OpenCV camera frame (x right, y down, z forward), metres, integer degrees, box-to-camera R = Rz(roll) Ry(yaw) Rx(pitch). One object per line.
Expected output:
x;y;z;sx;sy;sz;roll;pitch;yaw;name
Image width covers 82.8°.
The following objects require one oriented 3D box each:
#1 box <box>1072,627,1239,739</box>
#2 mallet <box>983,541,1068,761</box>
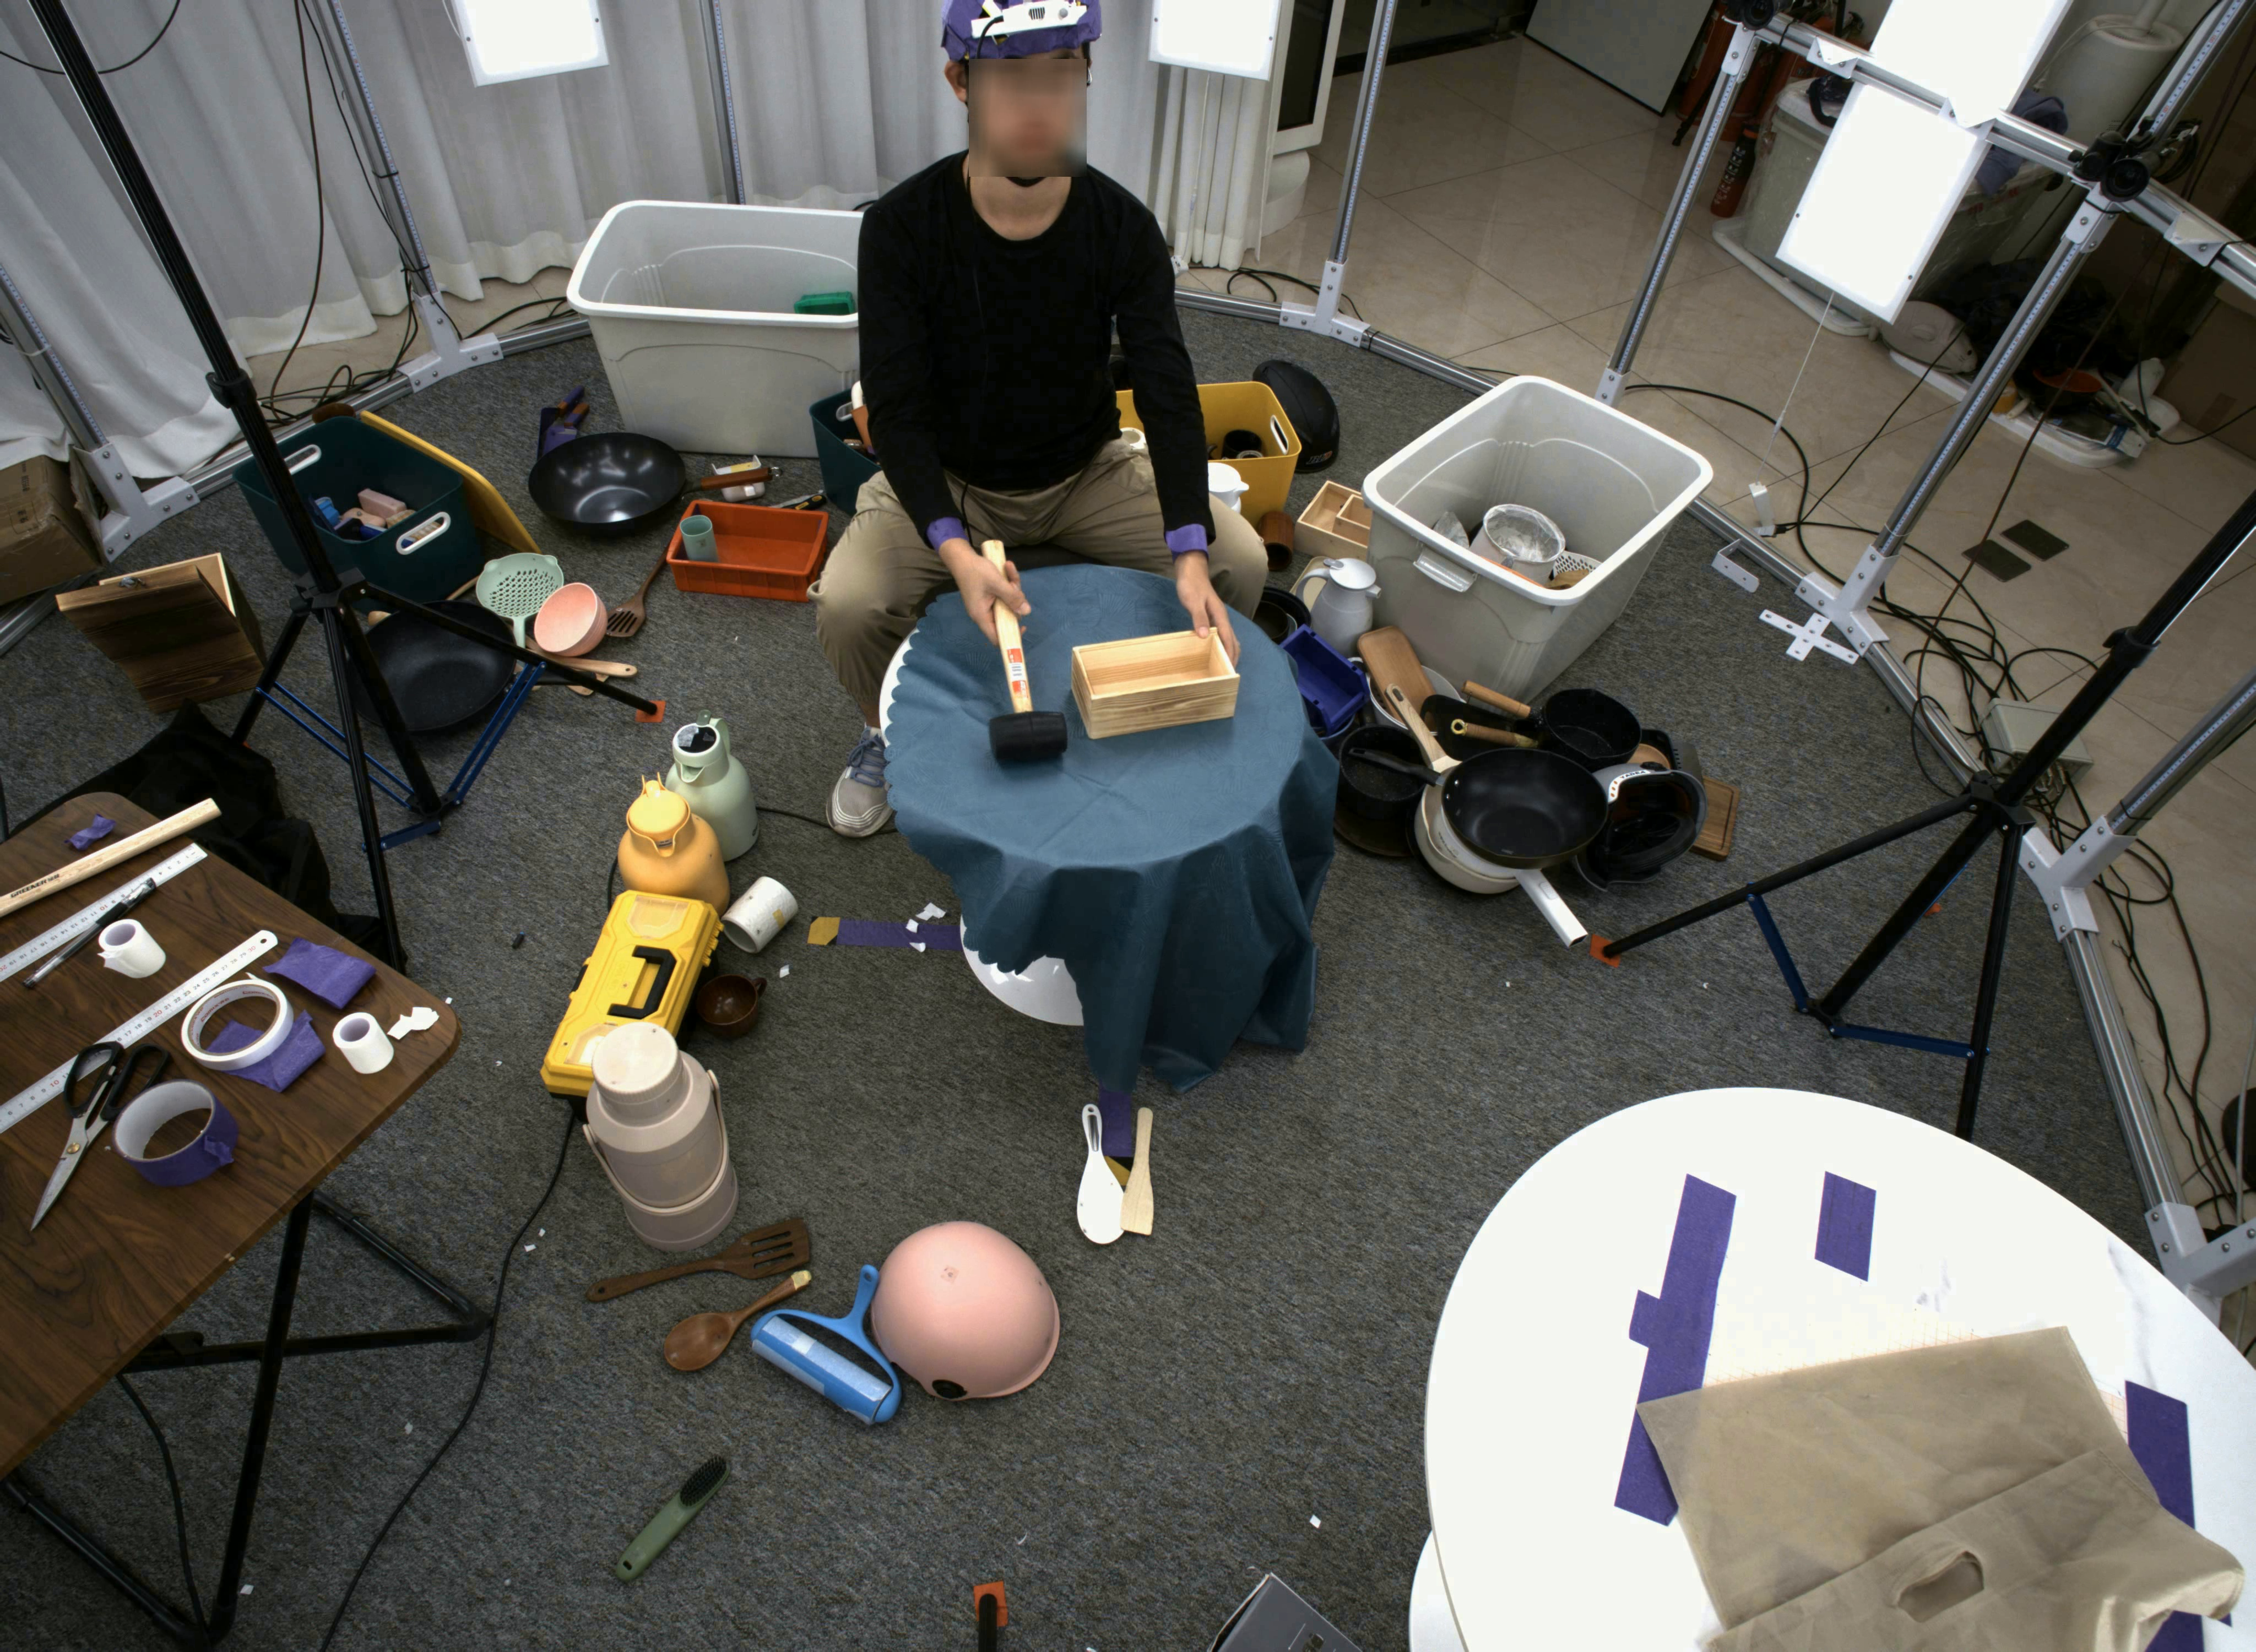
0.036;-0.201;1.794;0.211;0.078;0.110;-10;50;-12;box
-0.159;-0.249;1.773;0.102;0.063;0.345;-6;69;-13;mallet
